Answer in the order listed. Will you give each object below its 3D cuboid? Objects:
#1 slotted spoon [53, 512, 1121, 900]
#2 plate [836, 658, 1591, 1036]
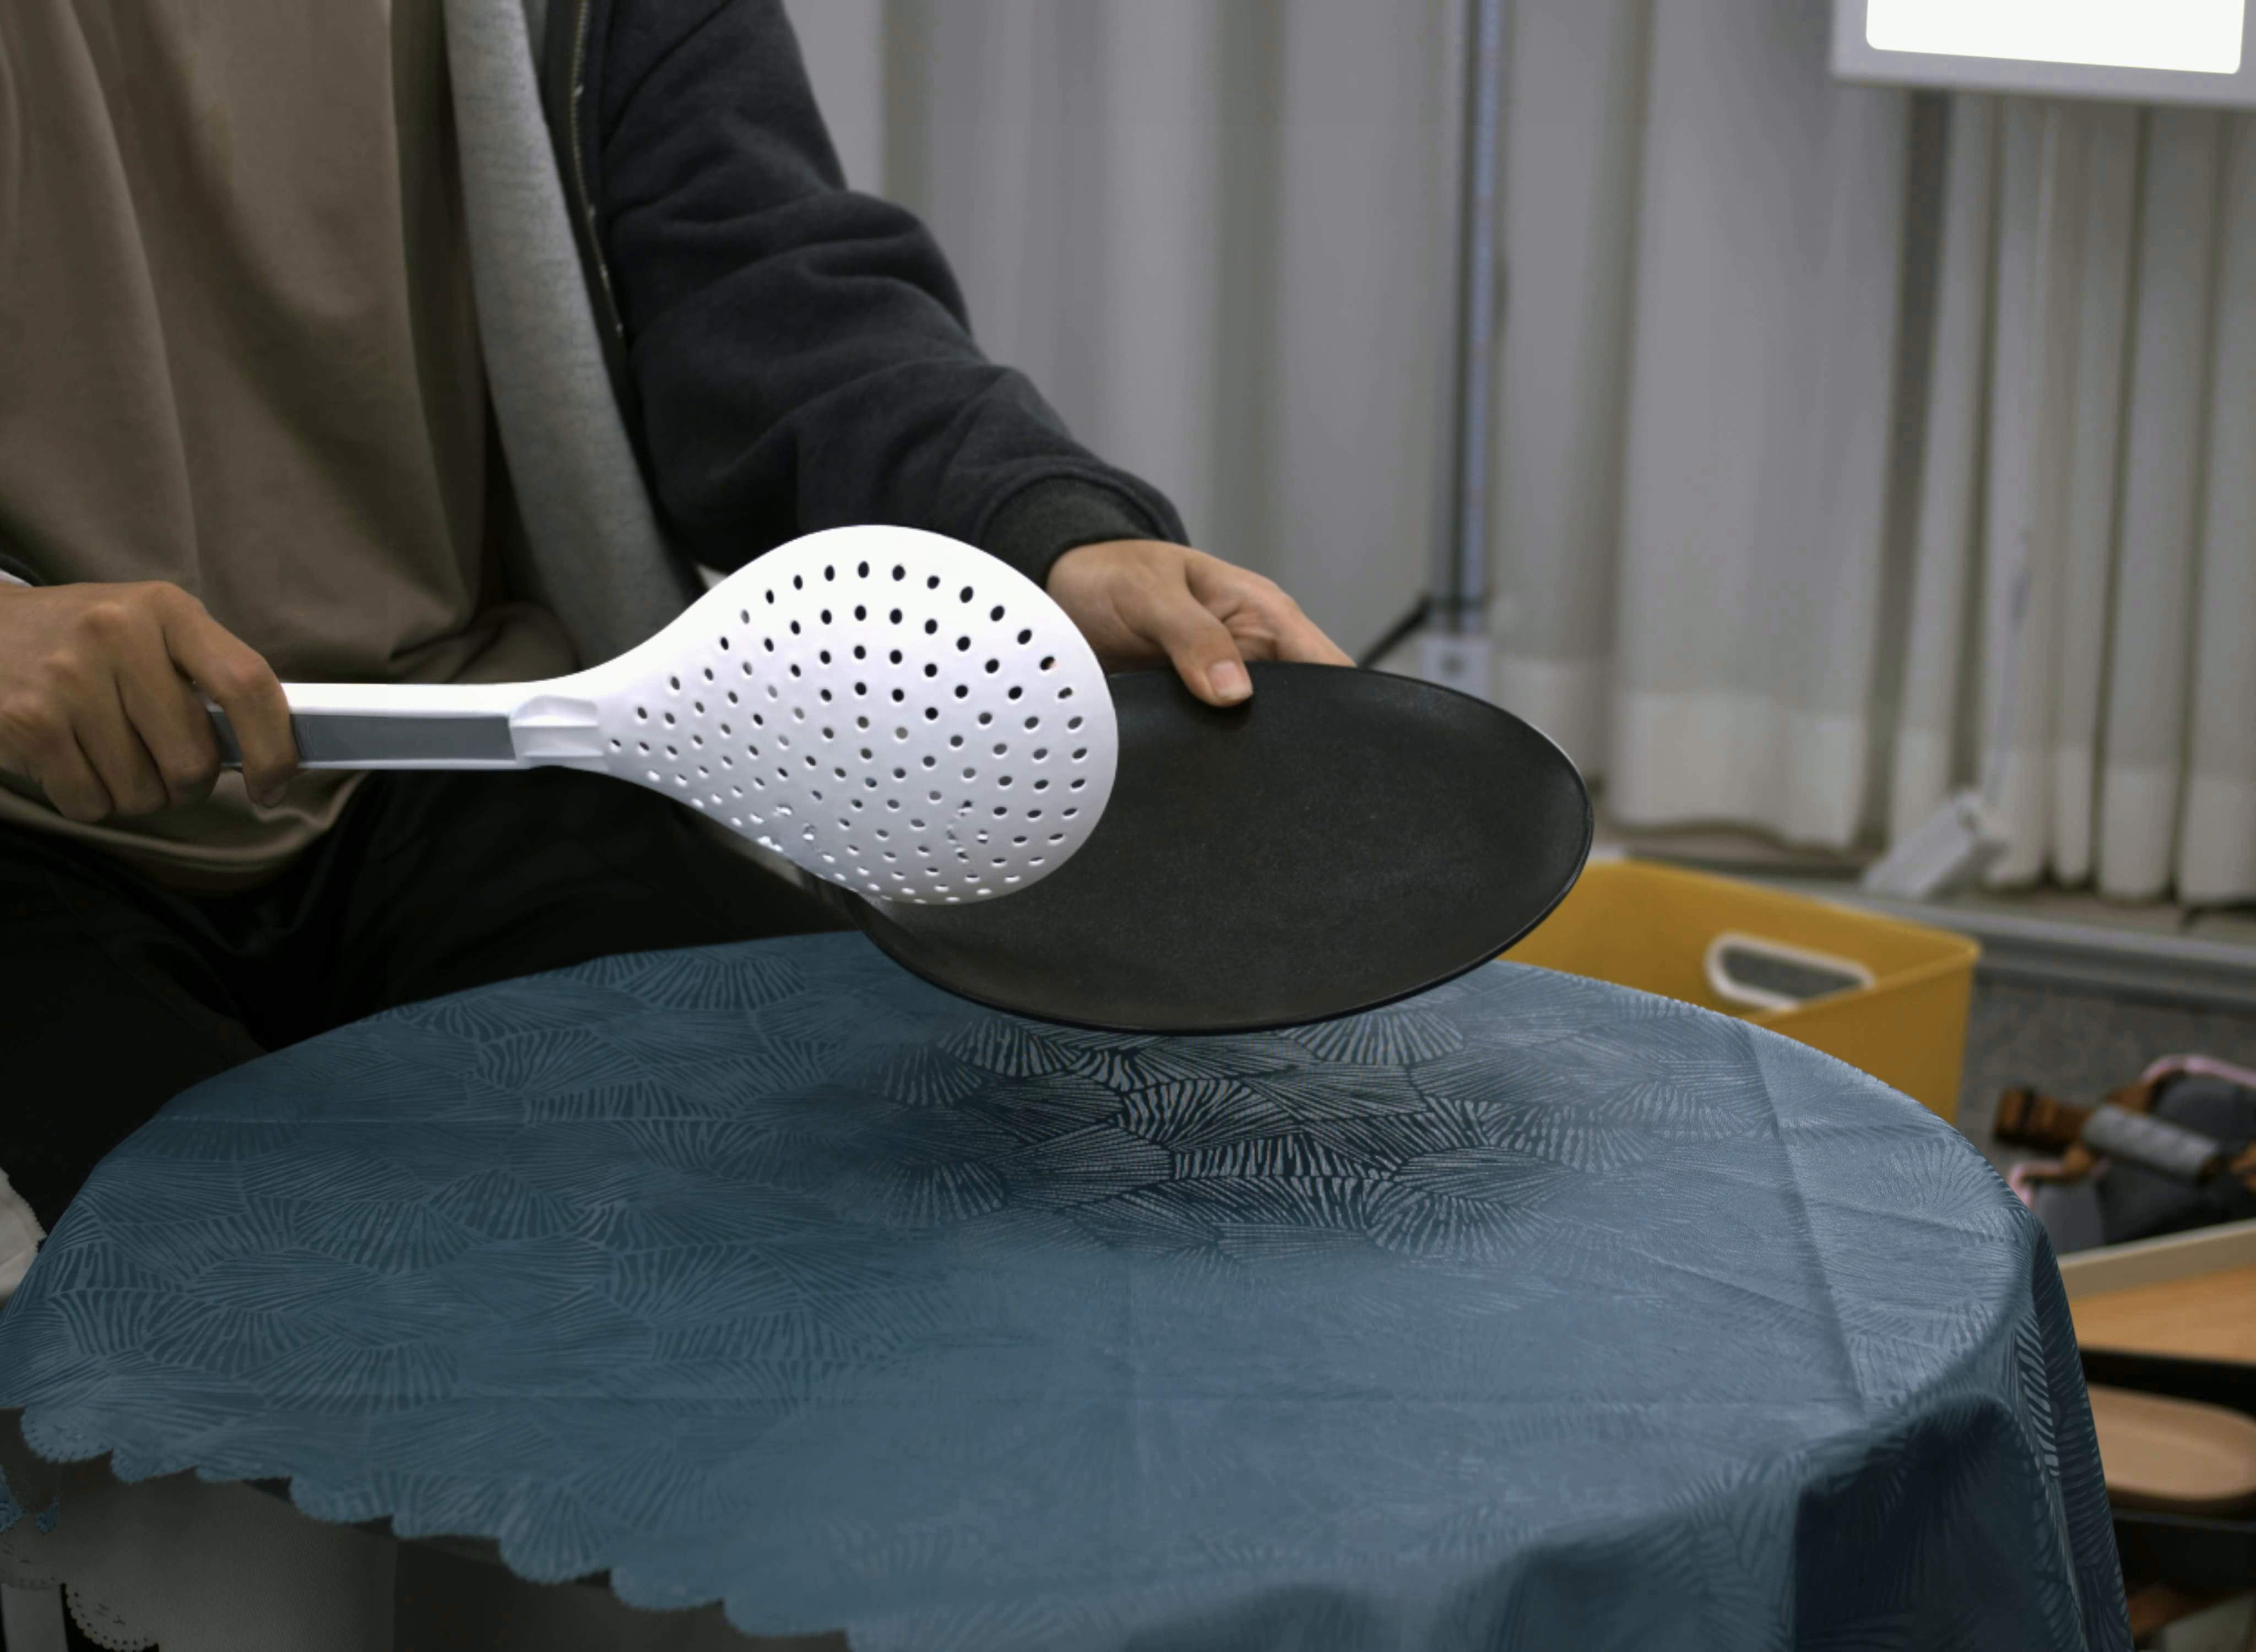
[{"bbox_3d":[-0.174,-0.034,1.645,0.346,0.138,0.045,3,32,18],"label":"slotted spoon"},{"bbox_3d":[0.028,0.011,1.689,0.243,0.024,0.242,-3,29,2],"label":"plate"}]
